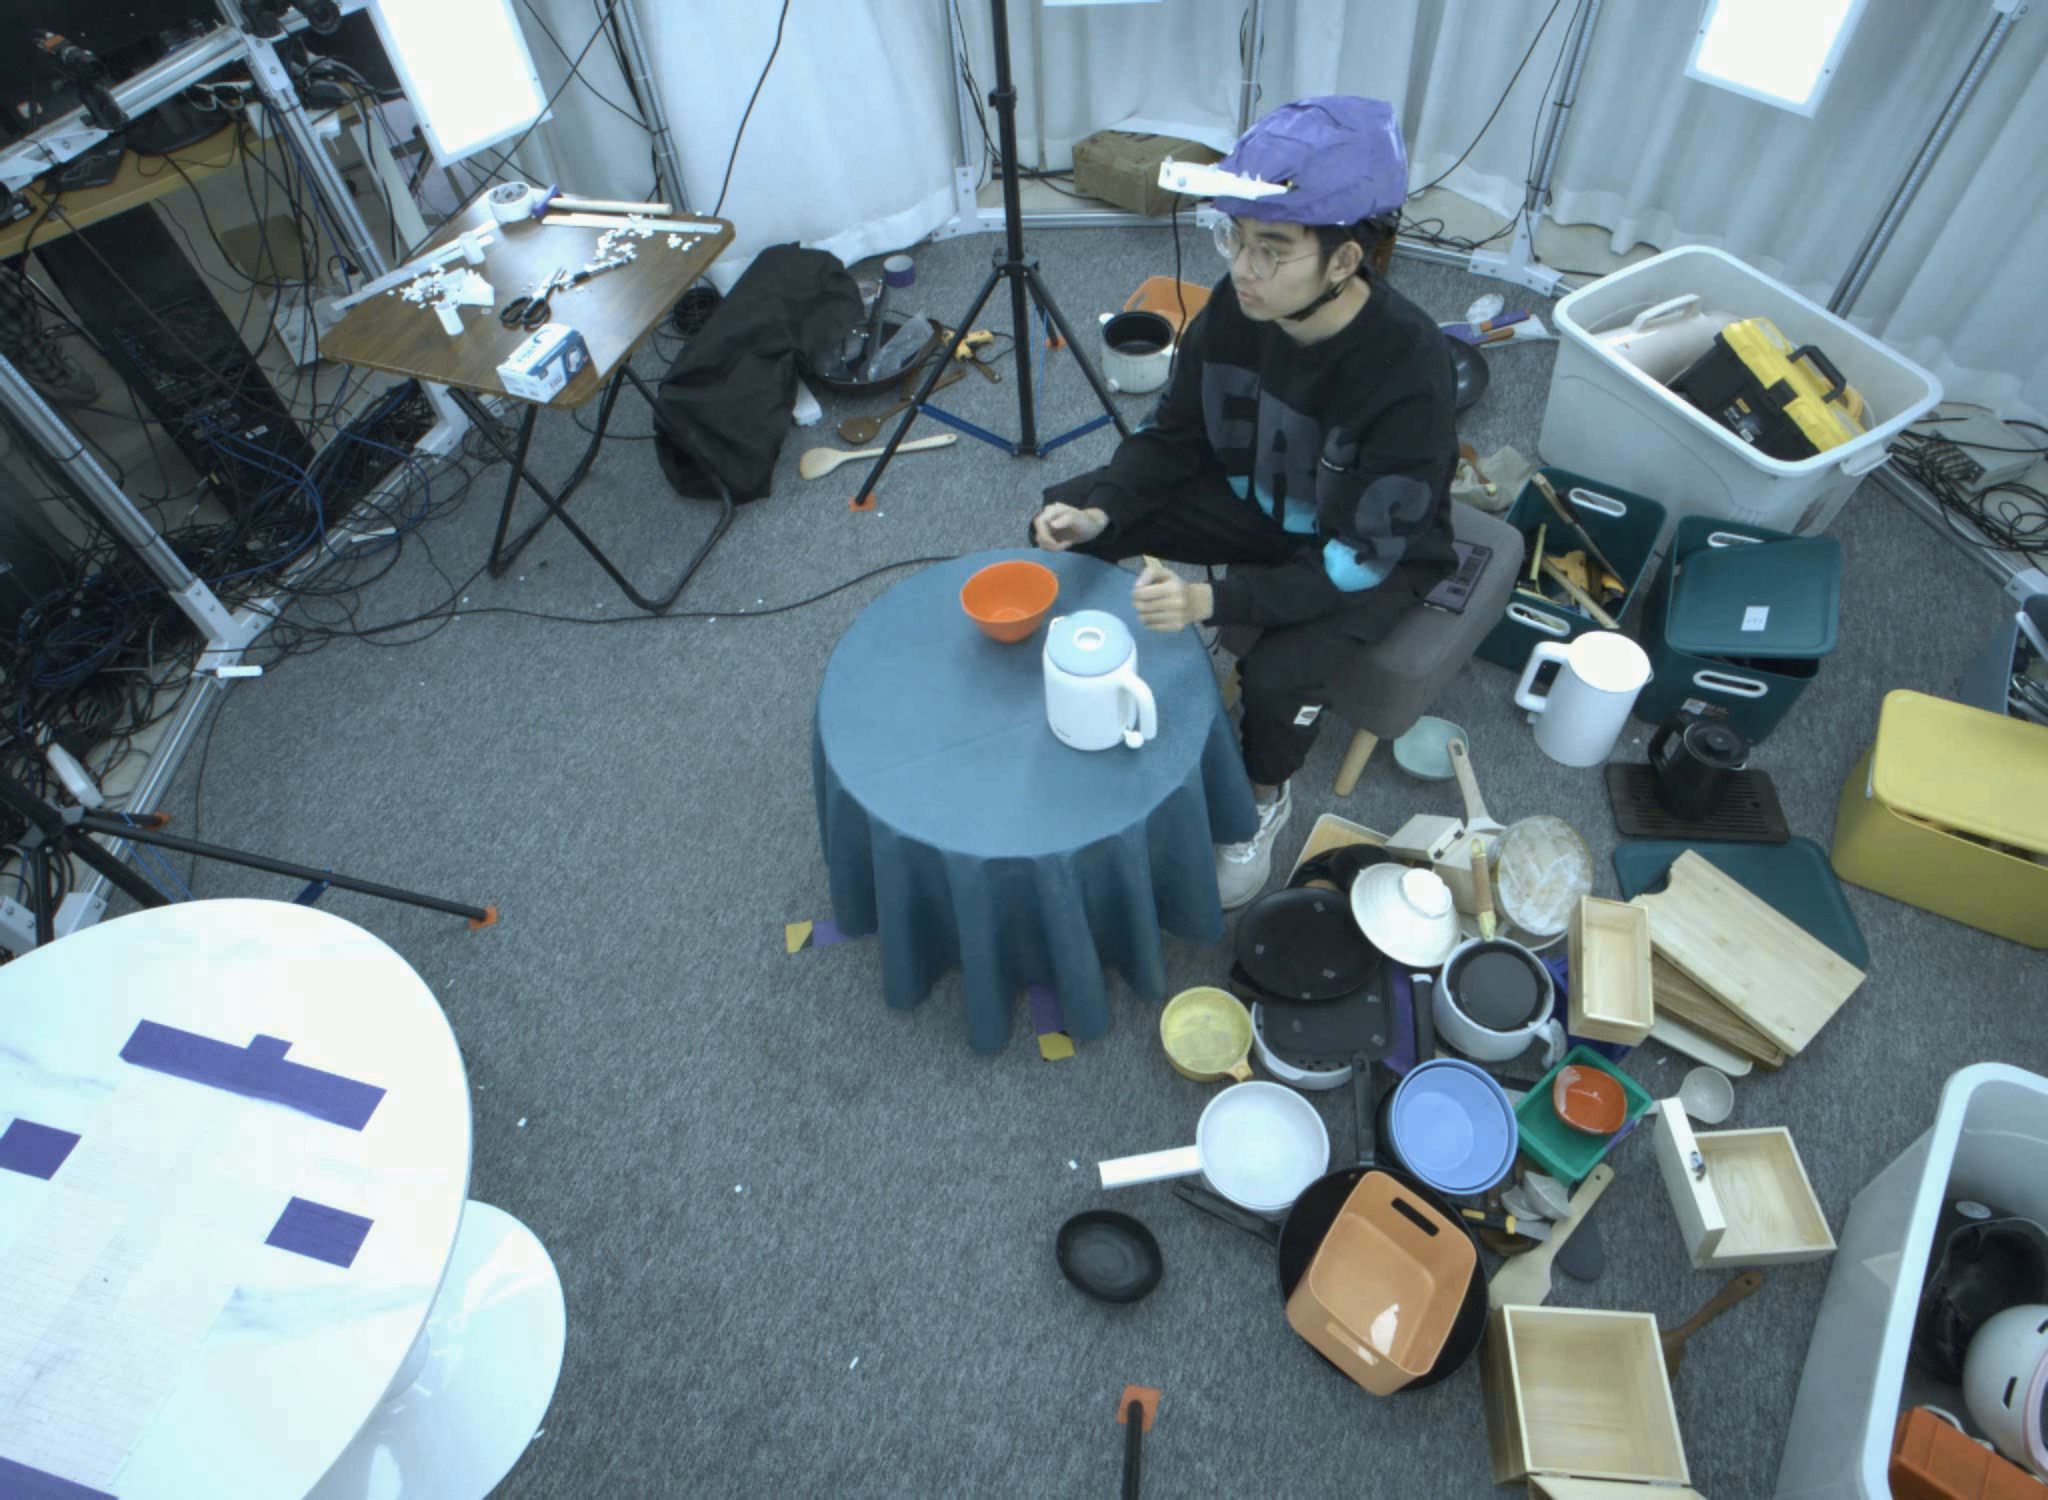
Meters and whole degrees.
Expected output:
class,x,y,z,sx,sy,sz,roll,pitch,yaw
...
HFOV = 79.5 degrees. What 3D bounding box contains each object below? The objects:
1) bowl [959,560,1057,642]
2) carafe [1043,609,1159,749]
class,x,y,z,sx,sy,sz,roll,pitch,yaw
bowl,-0.023,-0.215,1.874,0.148,0.106,0.146,-1,55,2
carafe,0.113,-0.087,1.736,0.188,0.184,0.133,36,65,22
